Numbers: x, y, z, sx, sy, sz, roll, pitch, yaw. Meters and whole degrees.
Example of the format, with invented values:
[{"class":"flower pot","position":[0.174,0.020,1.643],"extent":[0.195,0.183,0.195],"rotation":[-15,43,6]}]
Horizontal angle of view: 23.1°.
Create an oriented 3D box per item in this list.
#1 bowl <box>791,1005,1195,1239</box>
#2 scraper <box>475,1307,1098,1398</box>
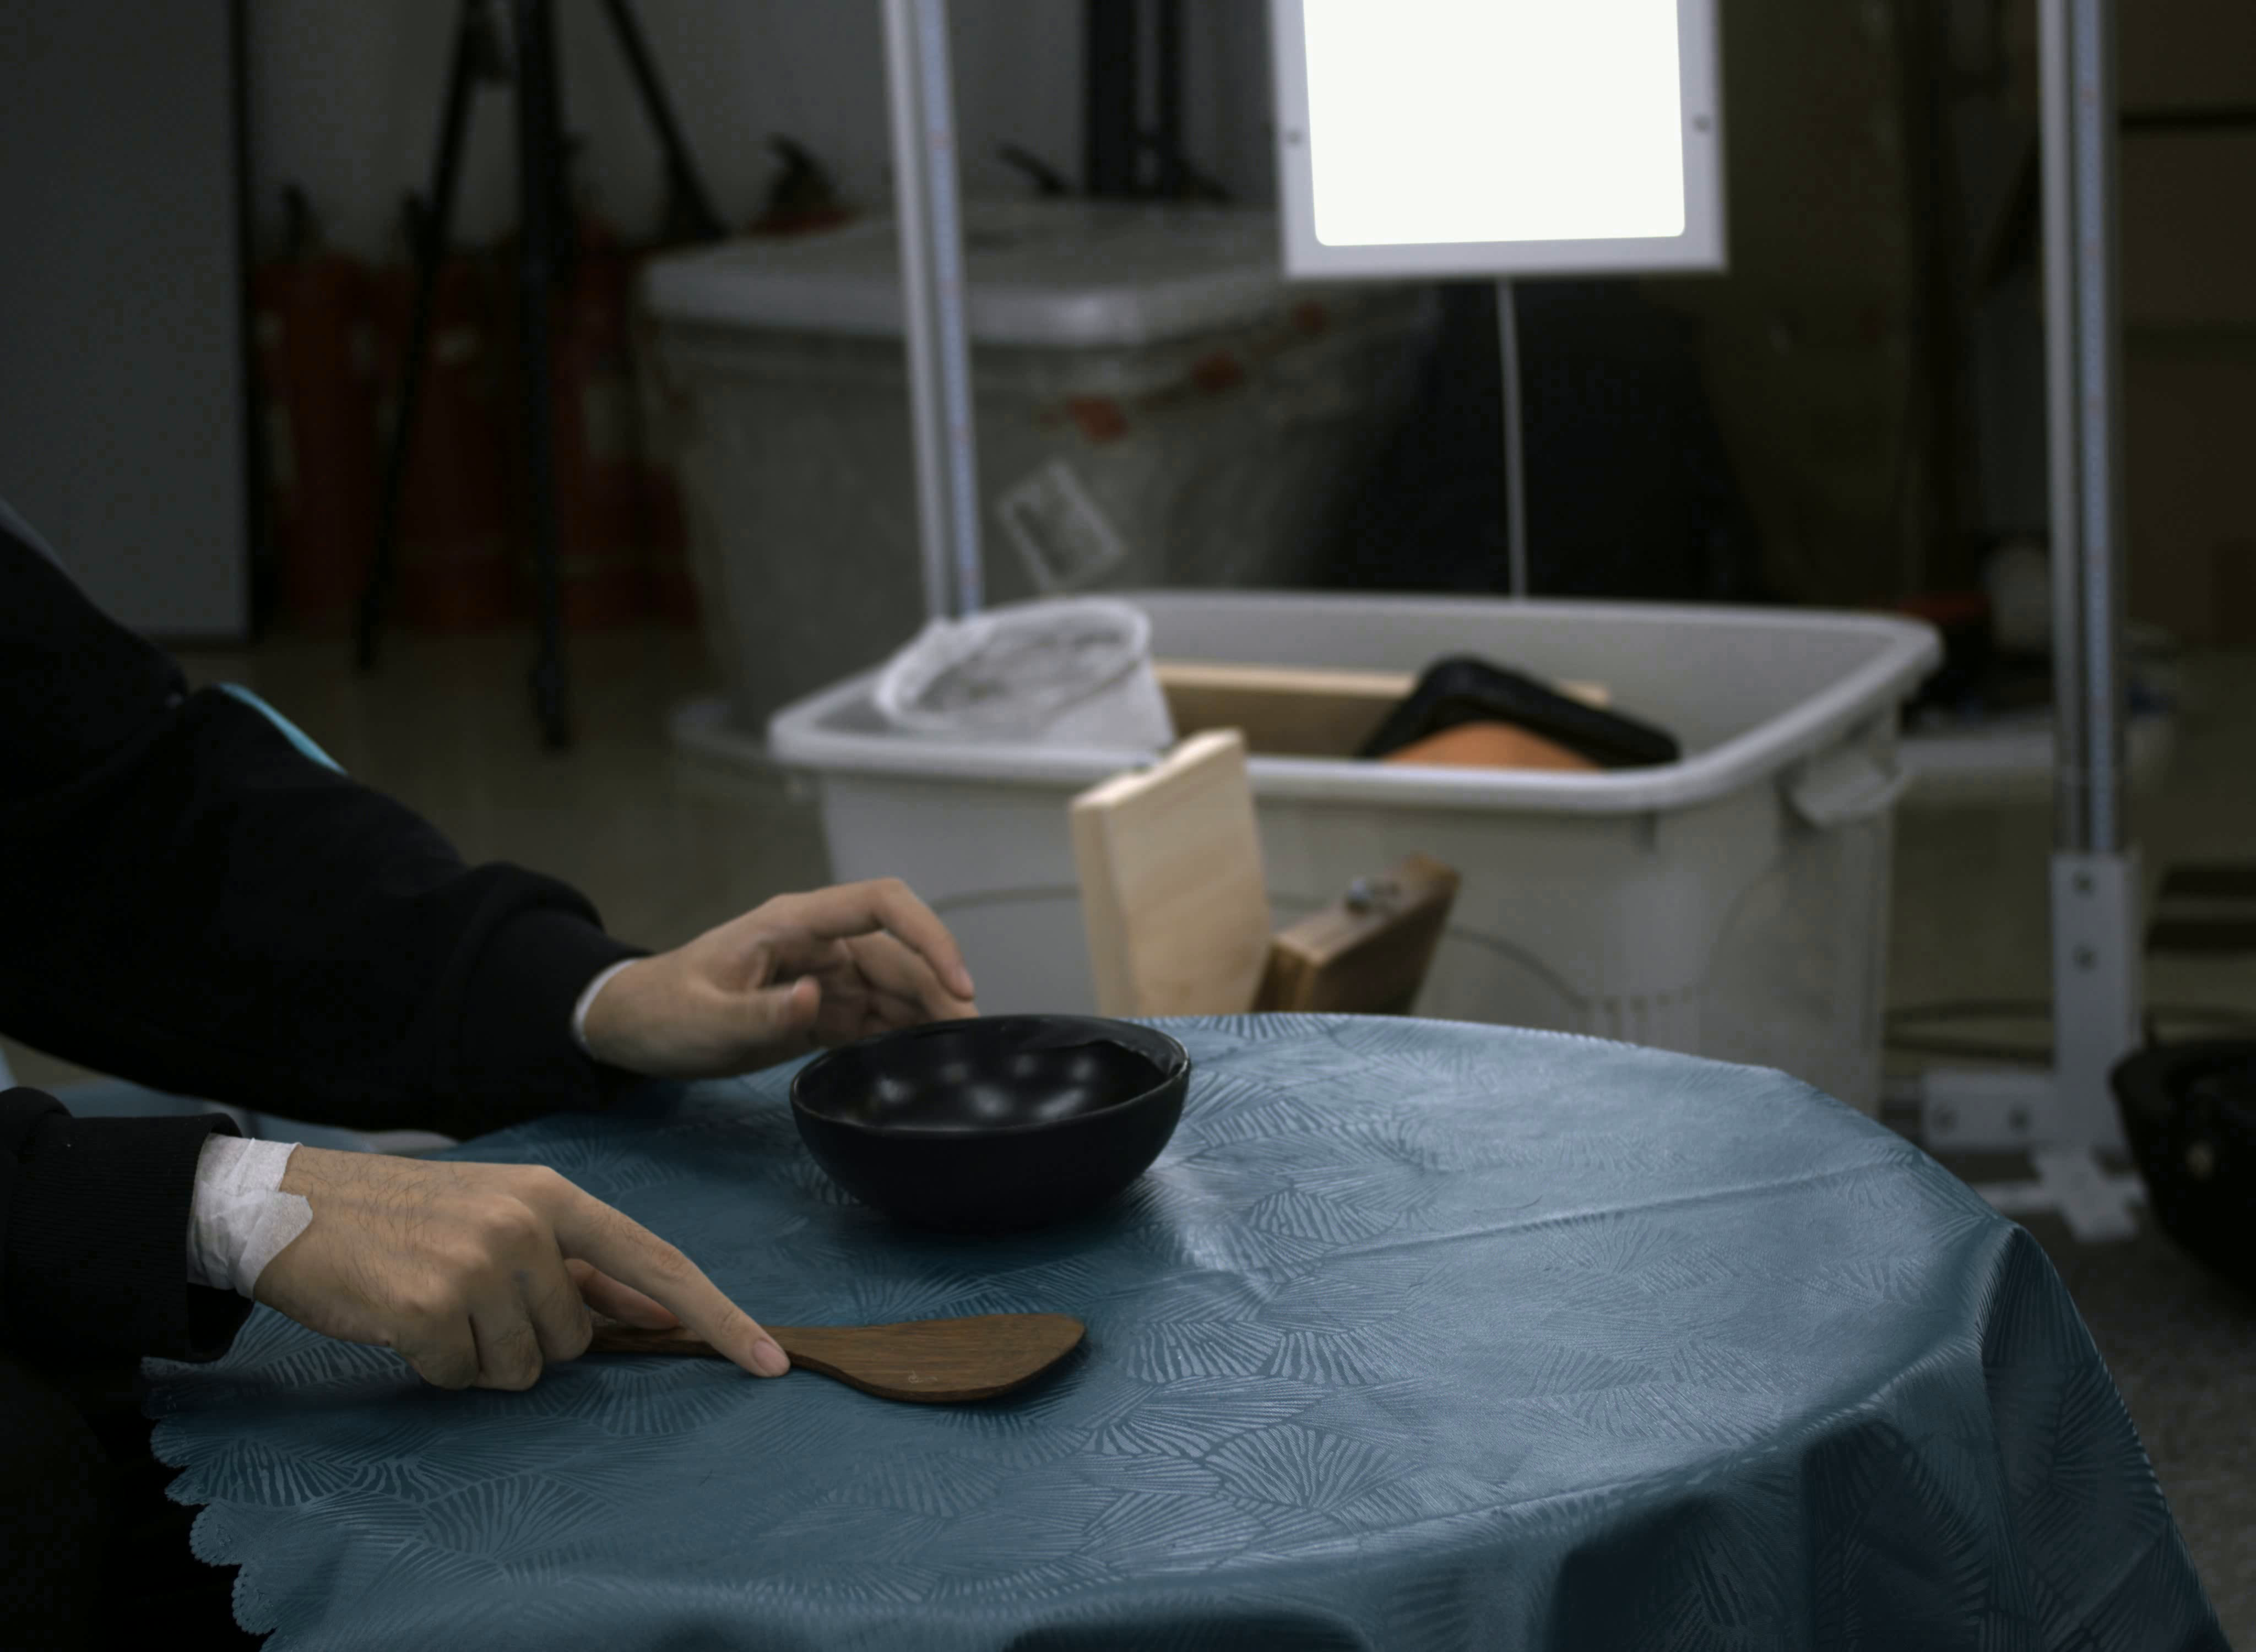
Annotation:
[{"class":"bowl","position":[-0.044,0.106,1.892],"extent":[0.140,0.050,0.140],"rotation":[-5,17,0]},{"class":"scraper","position":[-0.113,0.165,1.764],"extent":[0.215,0.011,0.074],"rotation":[1,14,25]}]
